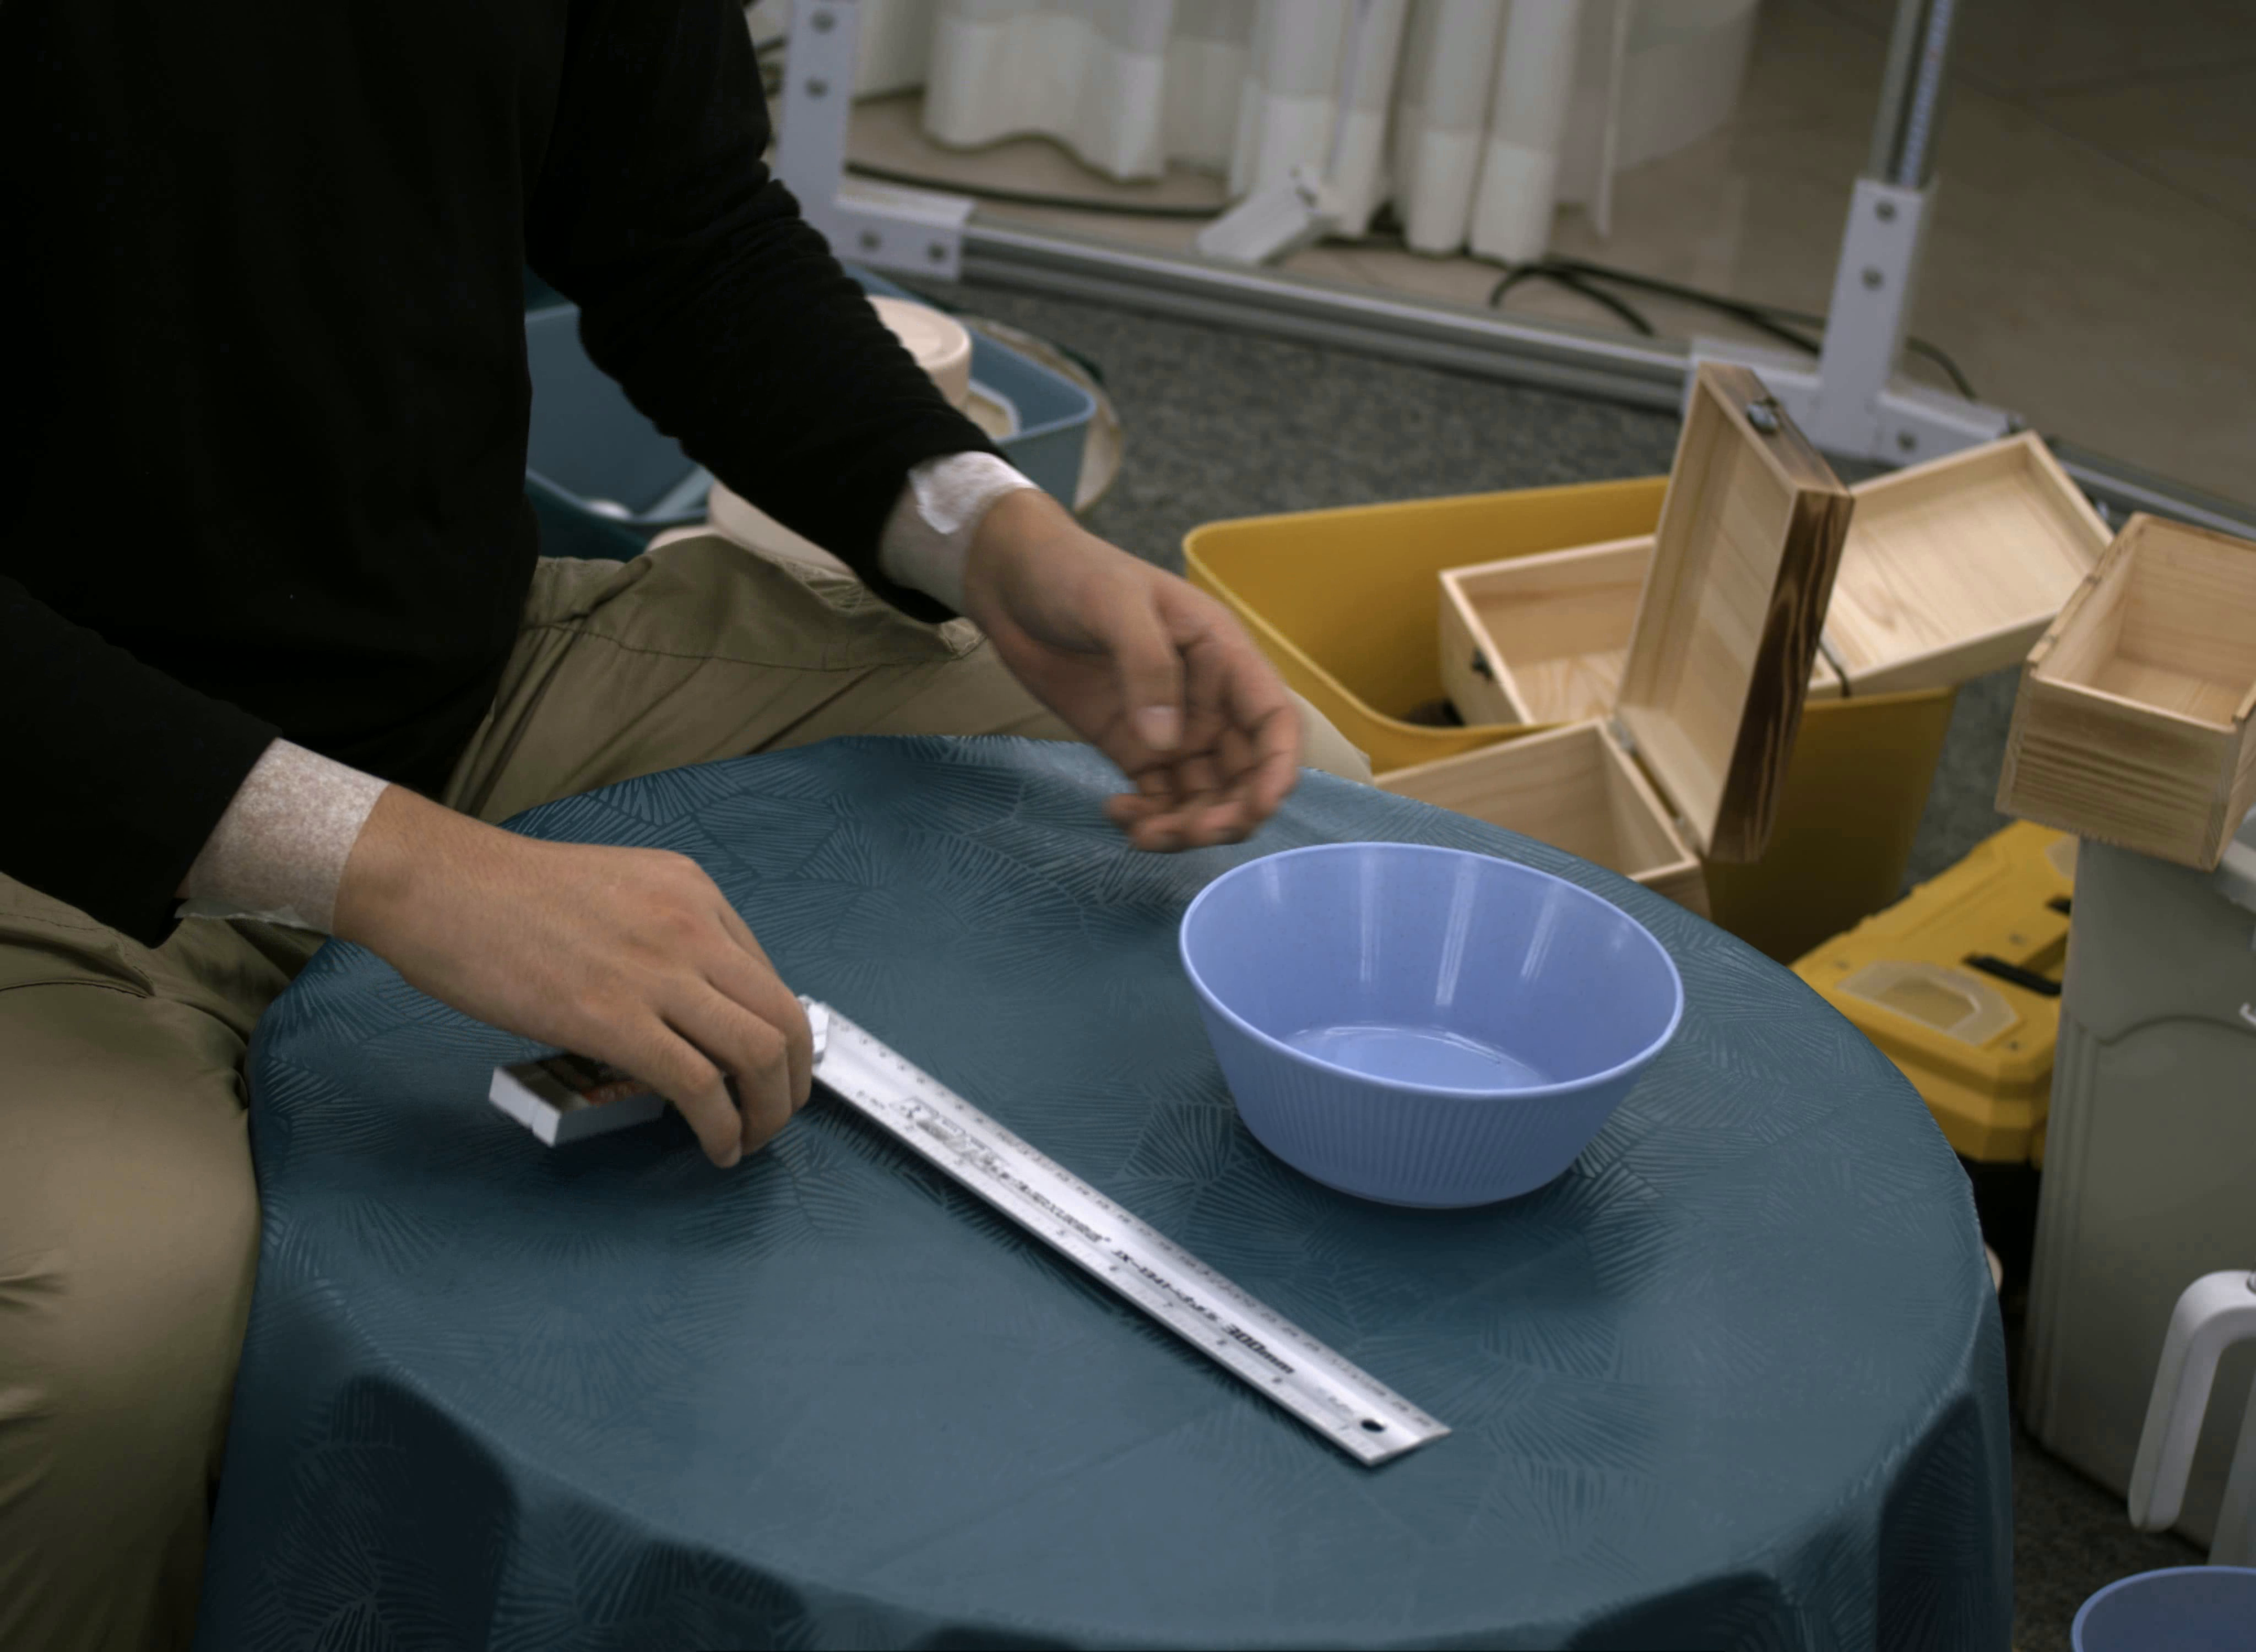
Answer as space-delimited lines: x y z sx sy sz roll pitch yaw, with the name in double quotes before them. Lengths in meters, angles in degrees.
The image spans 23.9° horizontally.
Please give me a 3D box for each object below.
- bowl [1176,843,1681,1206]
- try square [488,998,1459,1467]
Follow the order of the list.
"bowl" 0.100 0.075 1.844 0.175 0.070 0.177 5 27 -3
"try square" -0.055 0.143 1.733 0.151 0.016 0.315 -16 36 -42
